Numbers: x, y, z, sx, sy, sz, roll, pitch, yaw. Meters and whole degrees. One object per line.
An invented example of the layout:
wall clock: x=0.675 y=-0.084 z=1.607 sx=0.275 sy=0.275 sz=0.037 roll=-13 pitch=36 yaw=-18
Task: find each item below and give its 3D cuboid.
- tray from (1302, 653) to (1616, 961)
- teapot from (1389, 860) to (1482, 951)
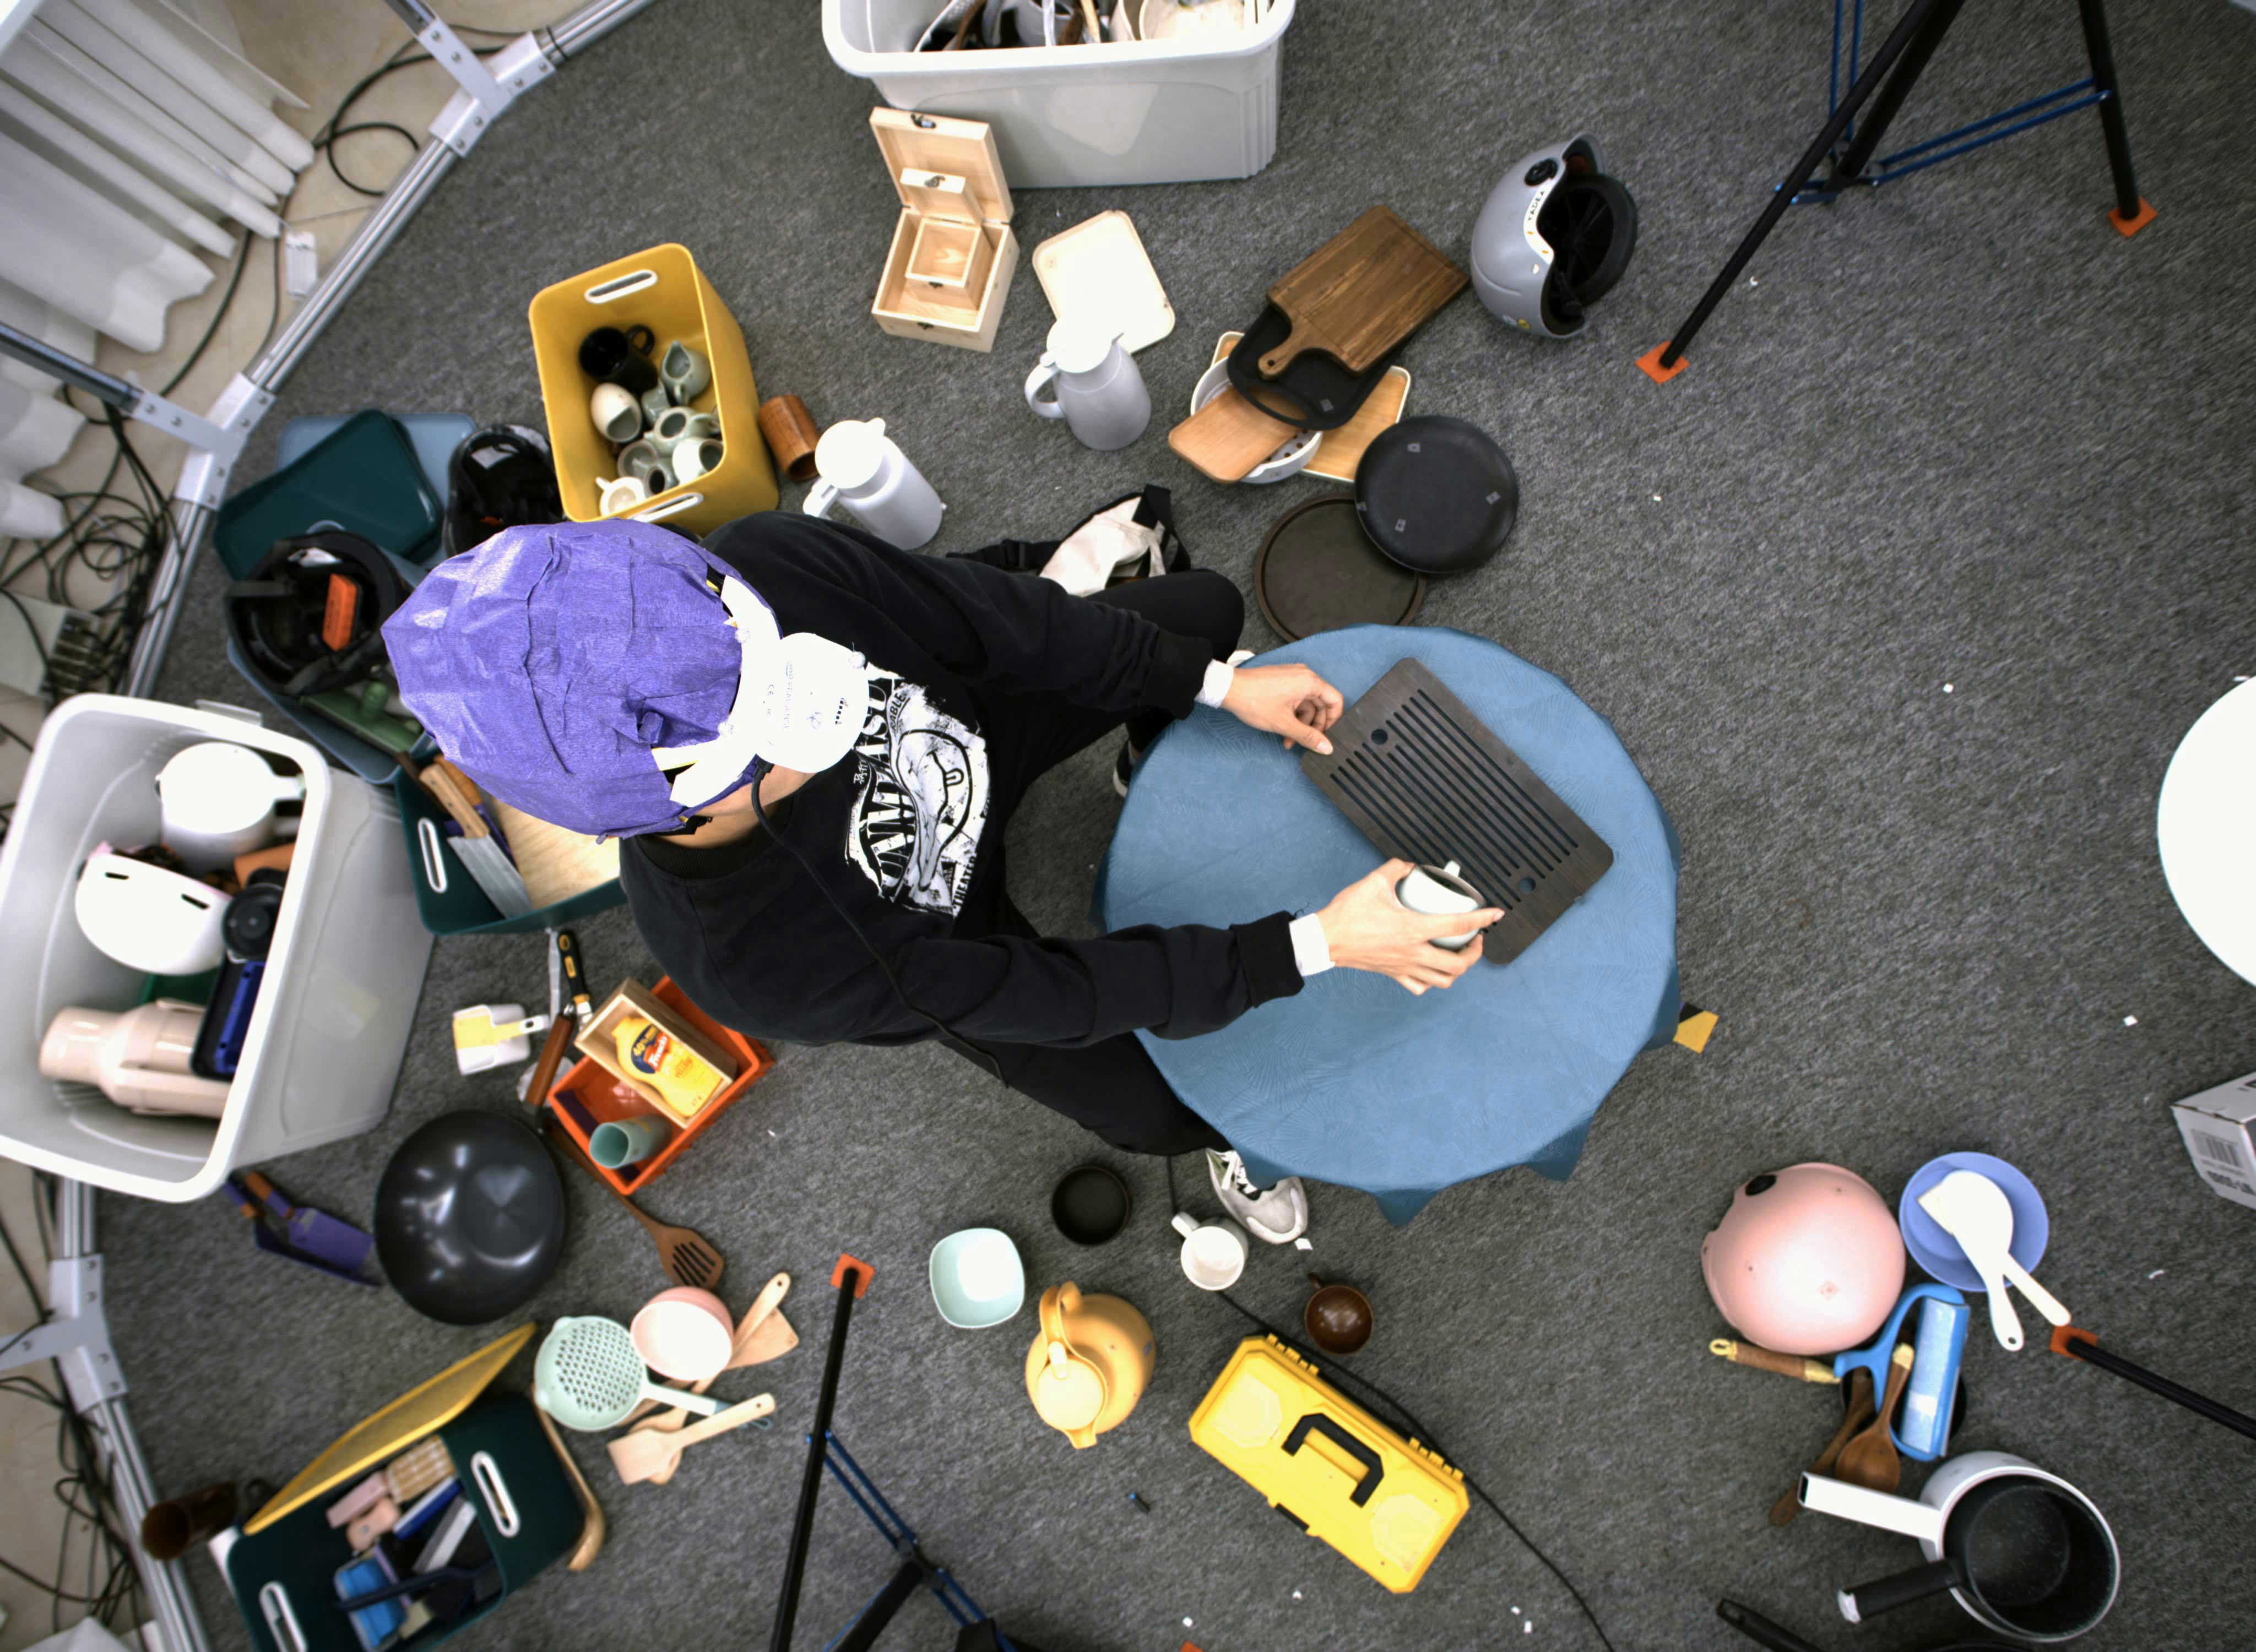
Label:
tray: x=0.343 y=-0.023 z=1.436 sx=0.171 sy=0.018 sz=0.305 roll=-44 pitch=83 yaw=6
teapot: x=0.295 y=0.077 z=1.321 sx=0.088 sy=0.142 sz=0.076 roll=27 pitch=107 yaw=9
